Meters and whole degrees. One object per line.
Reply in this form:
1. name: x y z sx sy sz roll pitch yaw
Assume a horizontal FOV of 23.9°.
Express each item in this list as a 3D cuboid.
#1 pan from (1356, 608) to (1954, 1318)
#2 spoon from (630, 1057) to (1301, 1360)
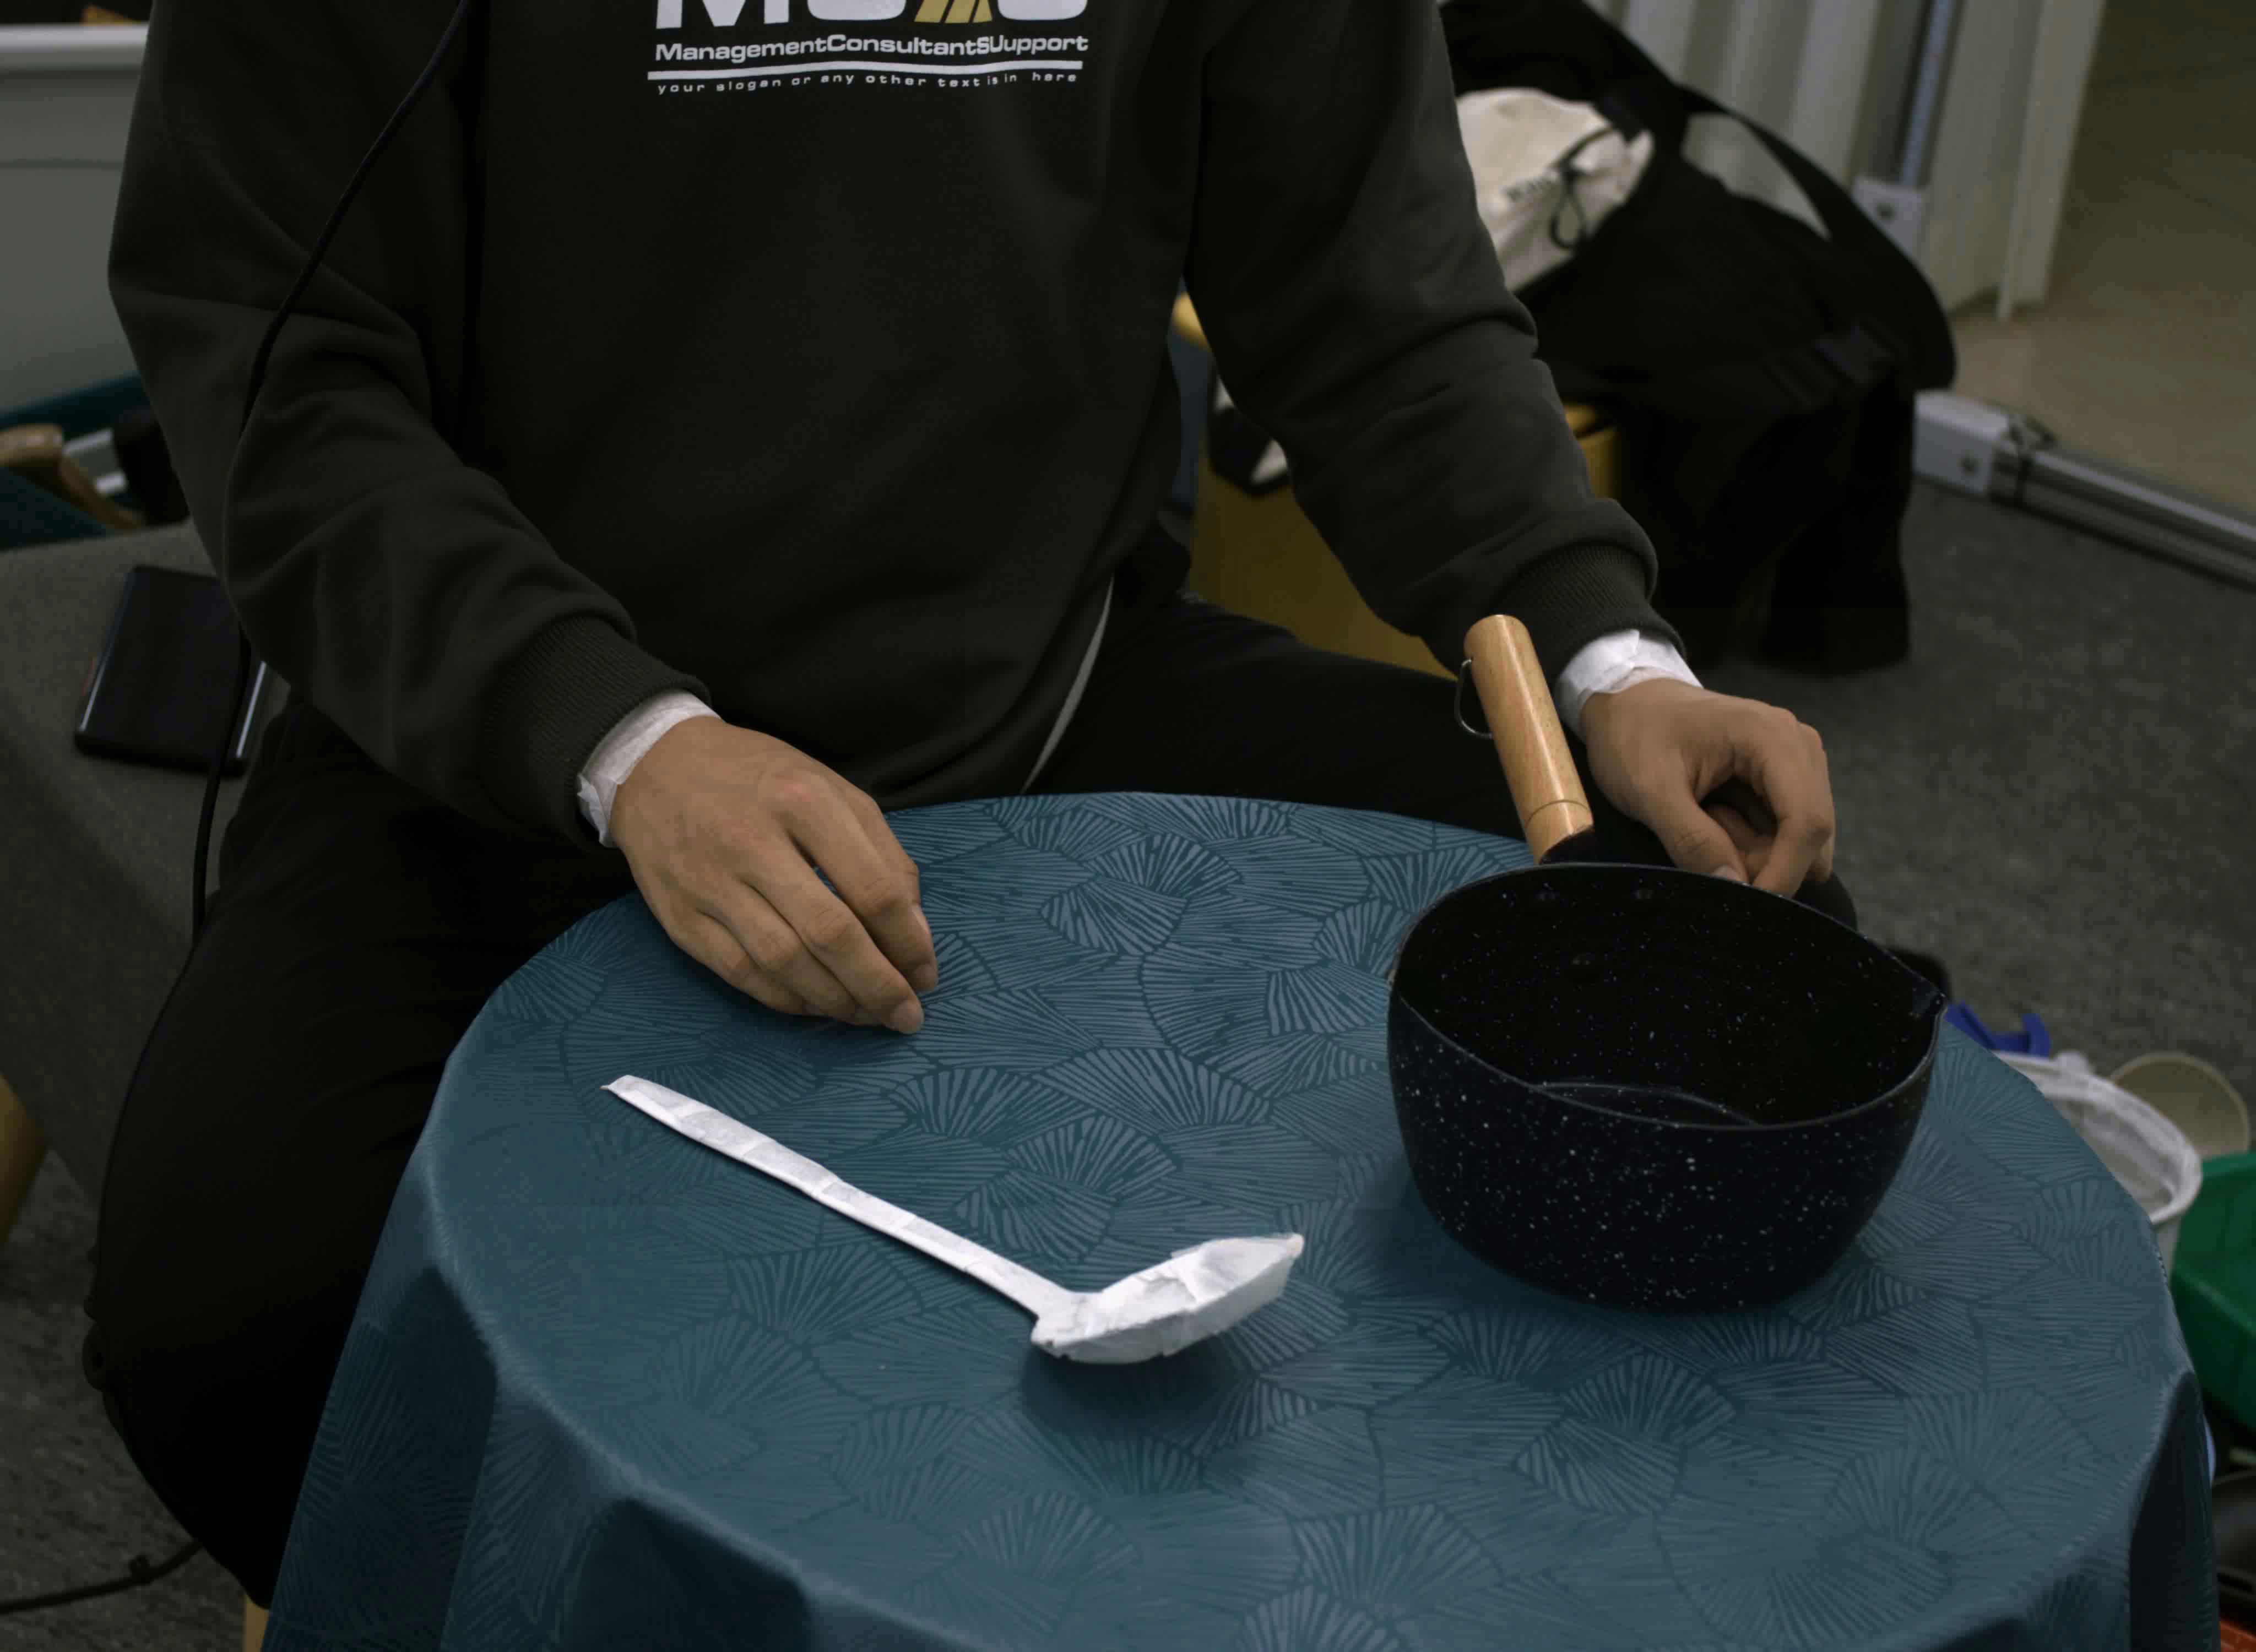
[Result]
1. pan: 0.163 0.045 1.879 0.206 0.108 0.345 -1 29 -12
2. spoon: -0.061 0.110 1.755 0.279 0.059 0.100 27 31 34
